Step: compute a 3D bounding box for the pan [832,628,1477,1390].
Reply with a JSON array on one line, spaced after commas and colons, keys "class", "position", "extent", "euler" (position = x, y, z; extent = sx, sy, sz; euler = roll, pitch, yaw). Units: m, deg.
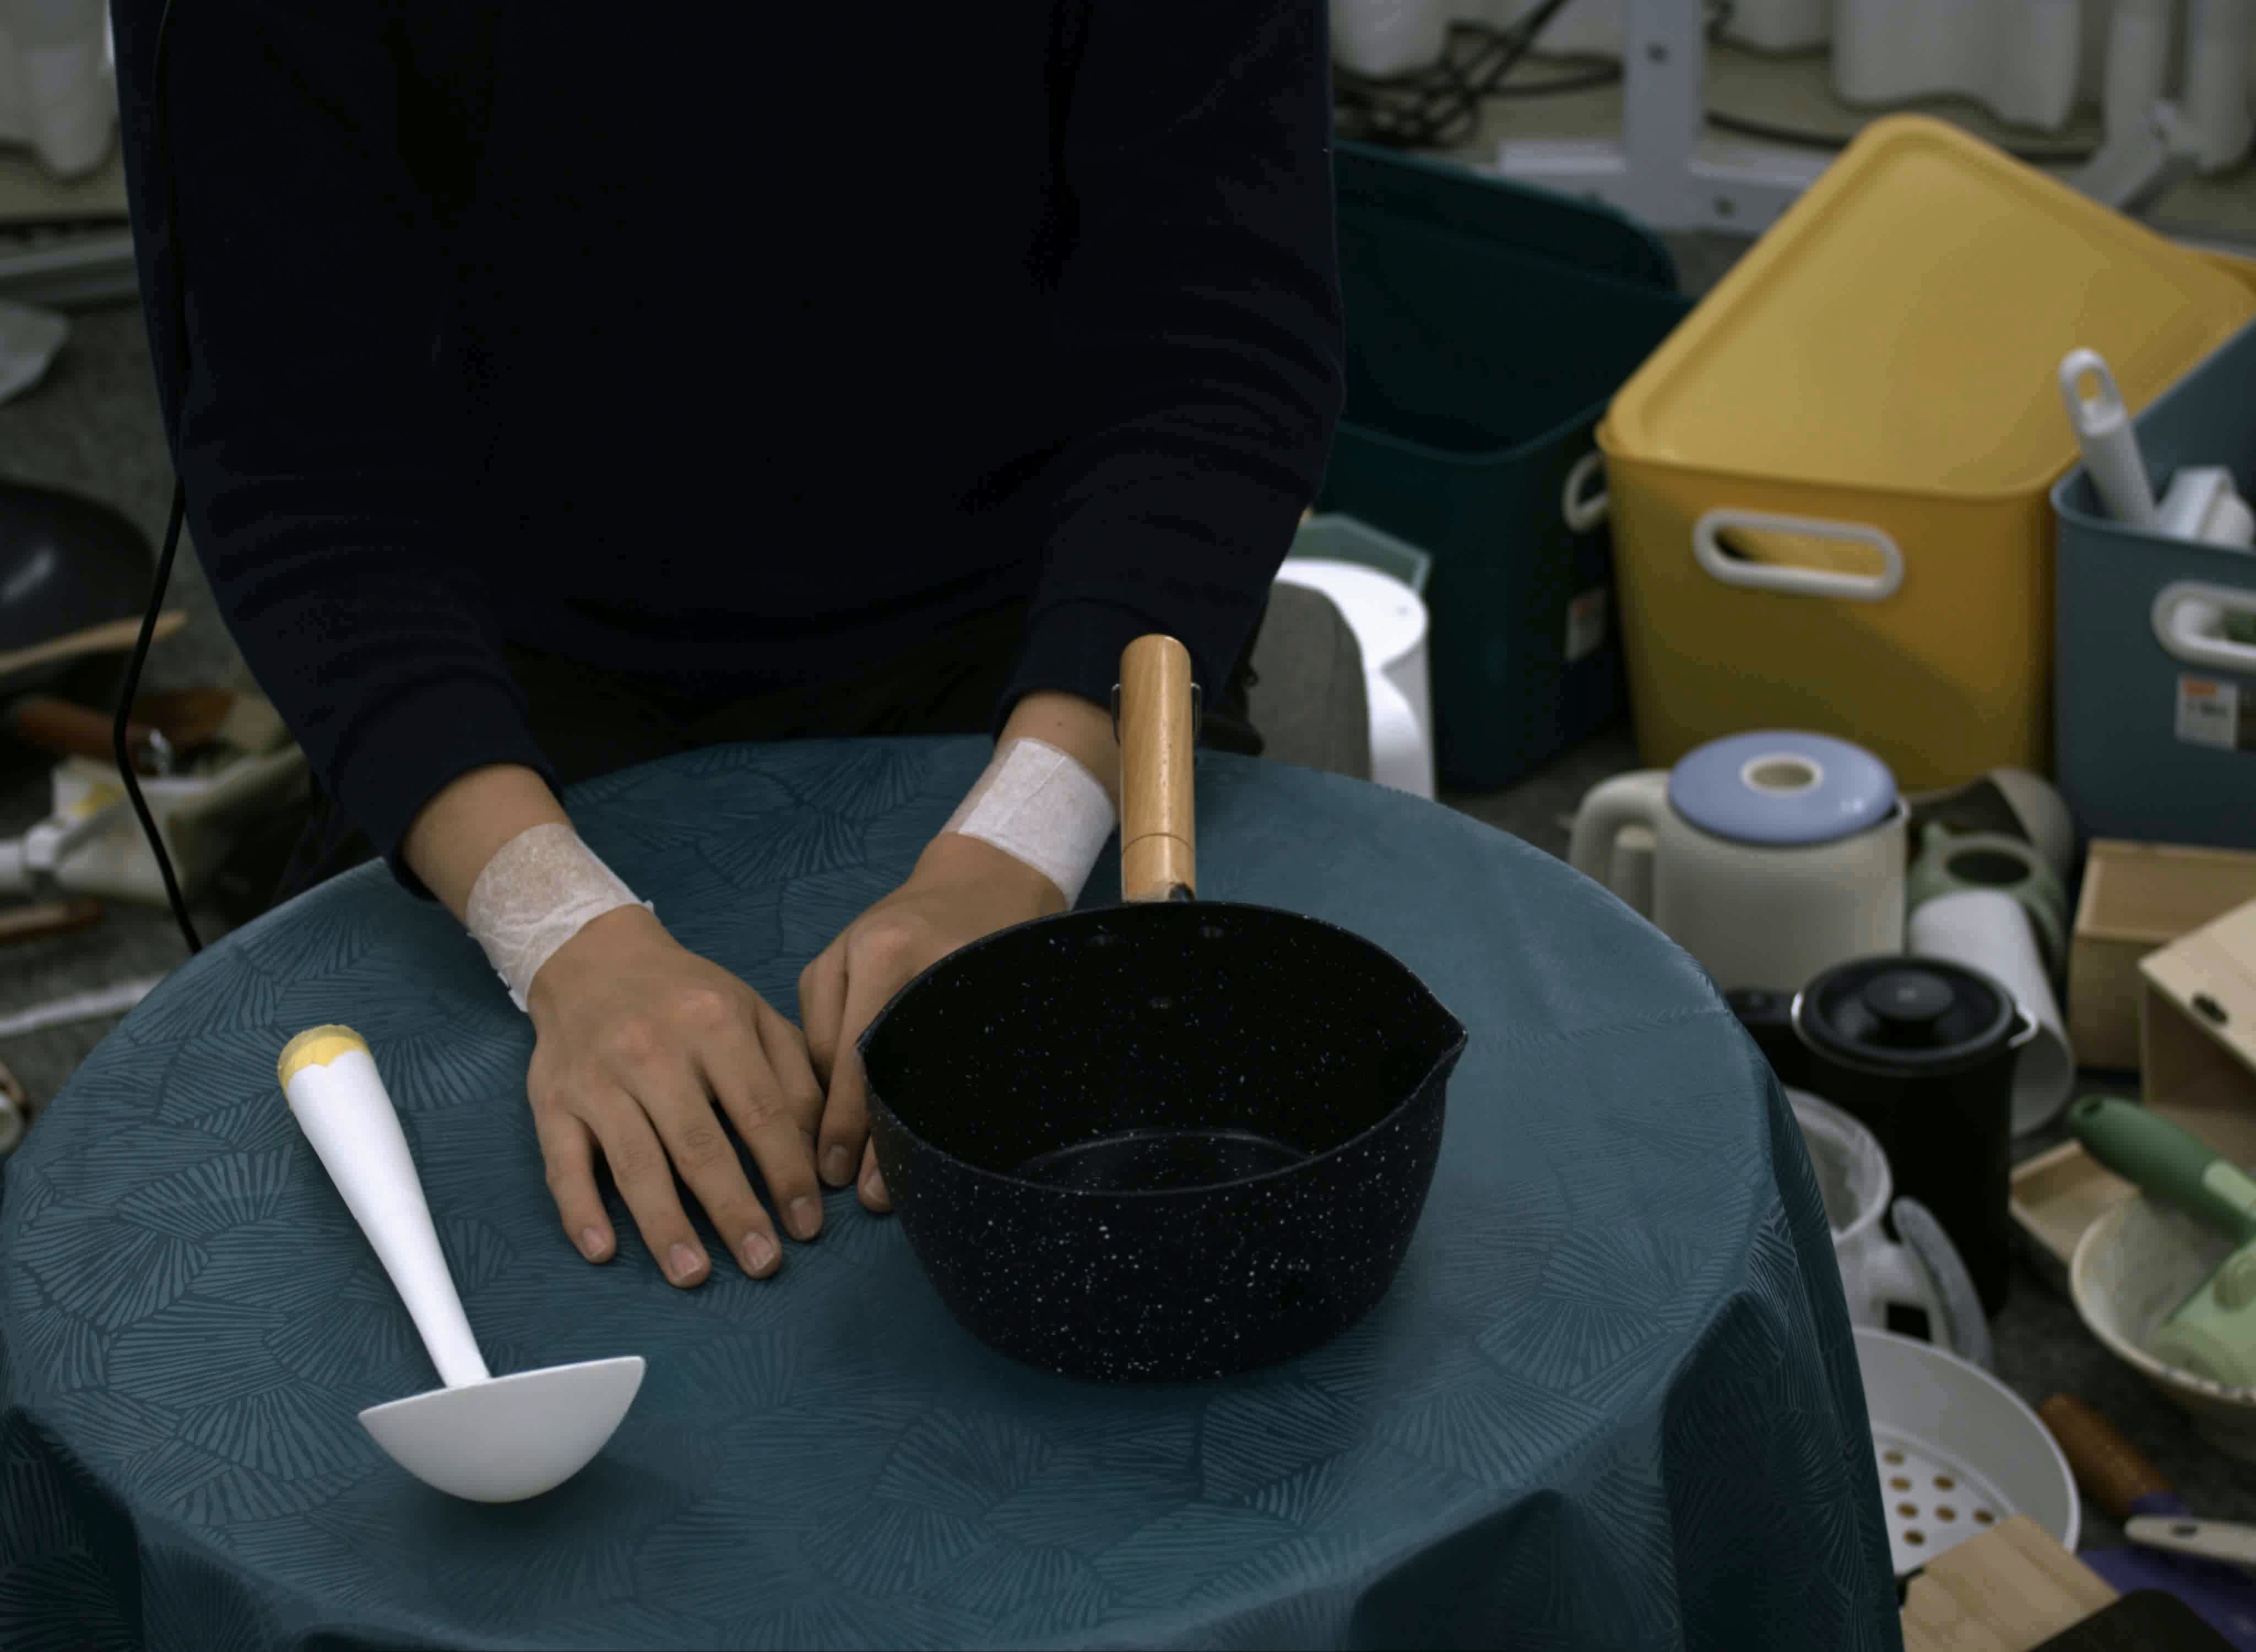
[{"class": "pan", "position": [0.009, 0.057, 1.870], "extent": [0.206, 0.107, 0.348], "euler": [-4, 29, 1]}]

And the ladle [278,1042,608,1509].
[{"class": "ladle", "position": [-0.234, 0.132, 1.797], "extent": [0.090, 0.069, 0.295], "euler": [-16, 29, -12]}]
